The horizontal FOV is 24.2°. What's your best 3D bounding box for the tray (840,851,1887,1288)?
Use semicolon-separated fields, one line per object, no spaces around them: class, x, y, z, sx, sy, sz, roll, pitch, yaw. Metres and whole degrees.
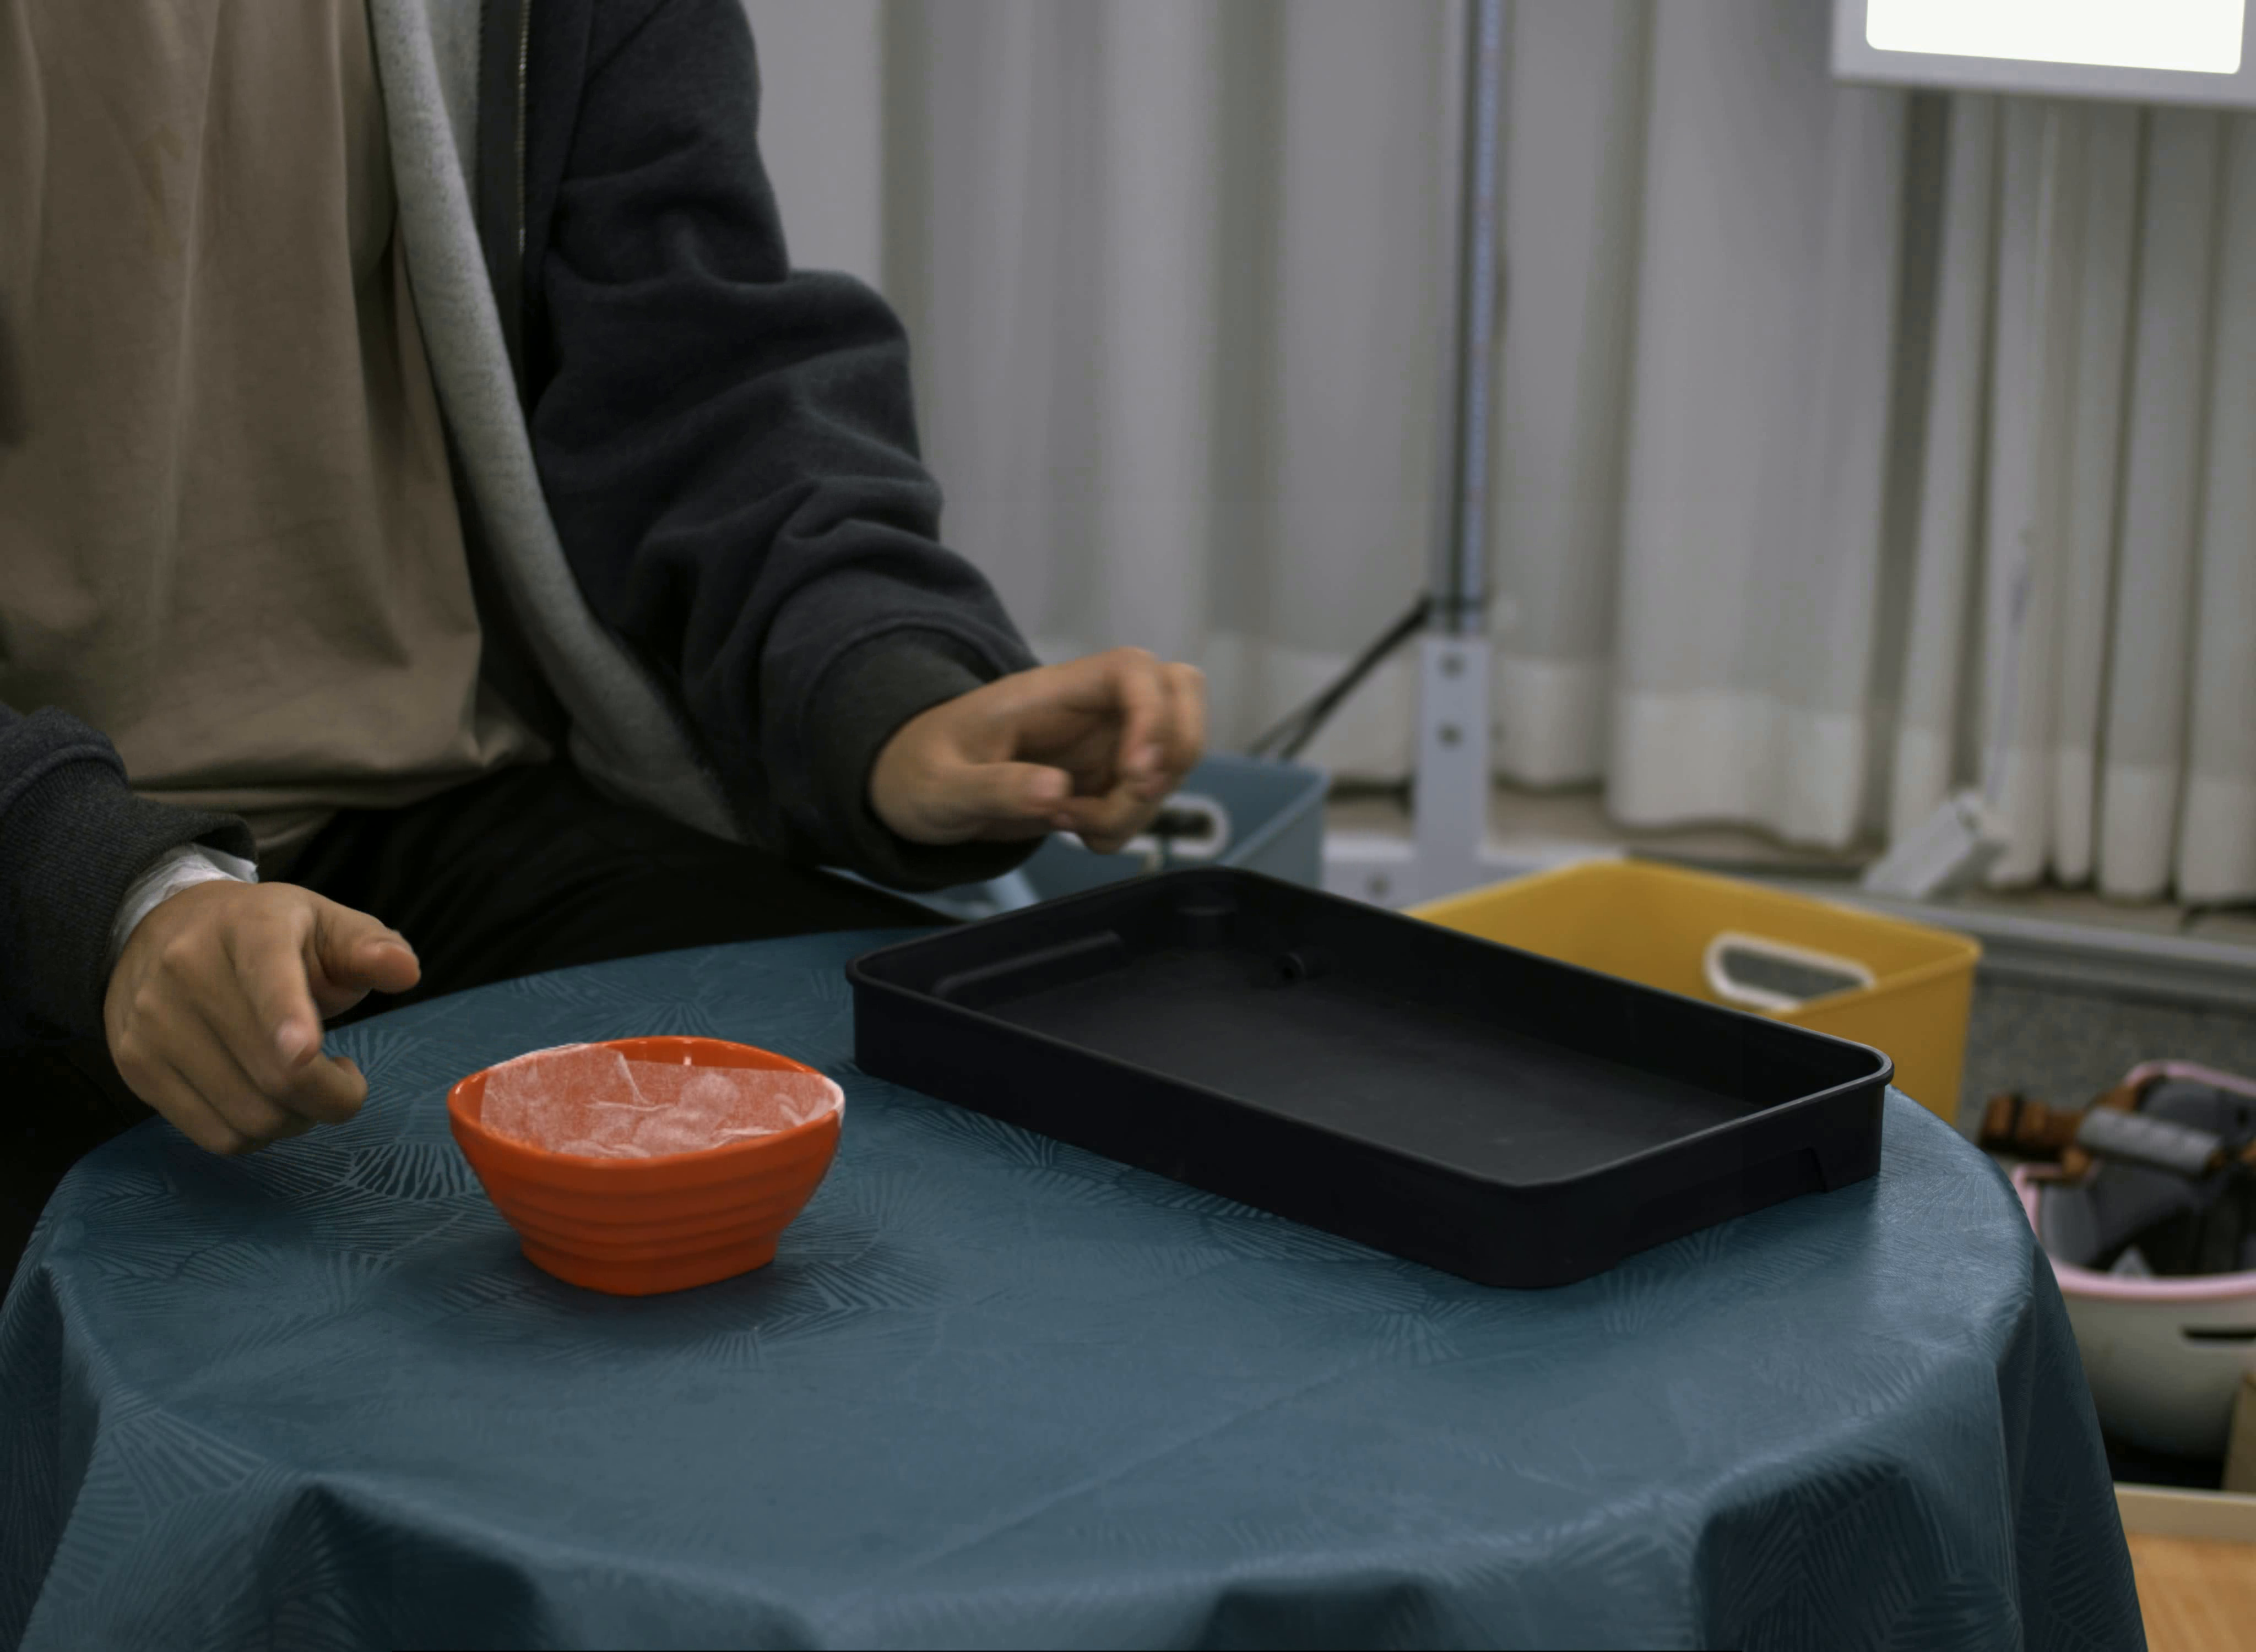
tray;0.071;0.073;1.693;0.185;0.037;0.313;-14;22;-43

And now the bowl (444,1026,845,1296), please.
bowl;-0.143;0.101;1.557;0.118;0.052;0.118;1;17;0
